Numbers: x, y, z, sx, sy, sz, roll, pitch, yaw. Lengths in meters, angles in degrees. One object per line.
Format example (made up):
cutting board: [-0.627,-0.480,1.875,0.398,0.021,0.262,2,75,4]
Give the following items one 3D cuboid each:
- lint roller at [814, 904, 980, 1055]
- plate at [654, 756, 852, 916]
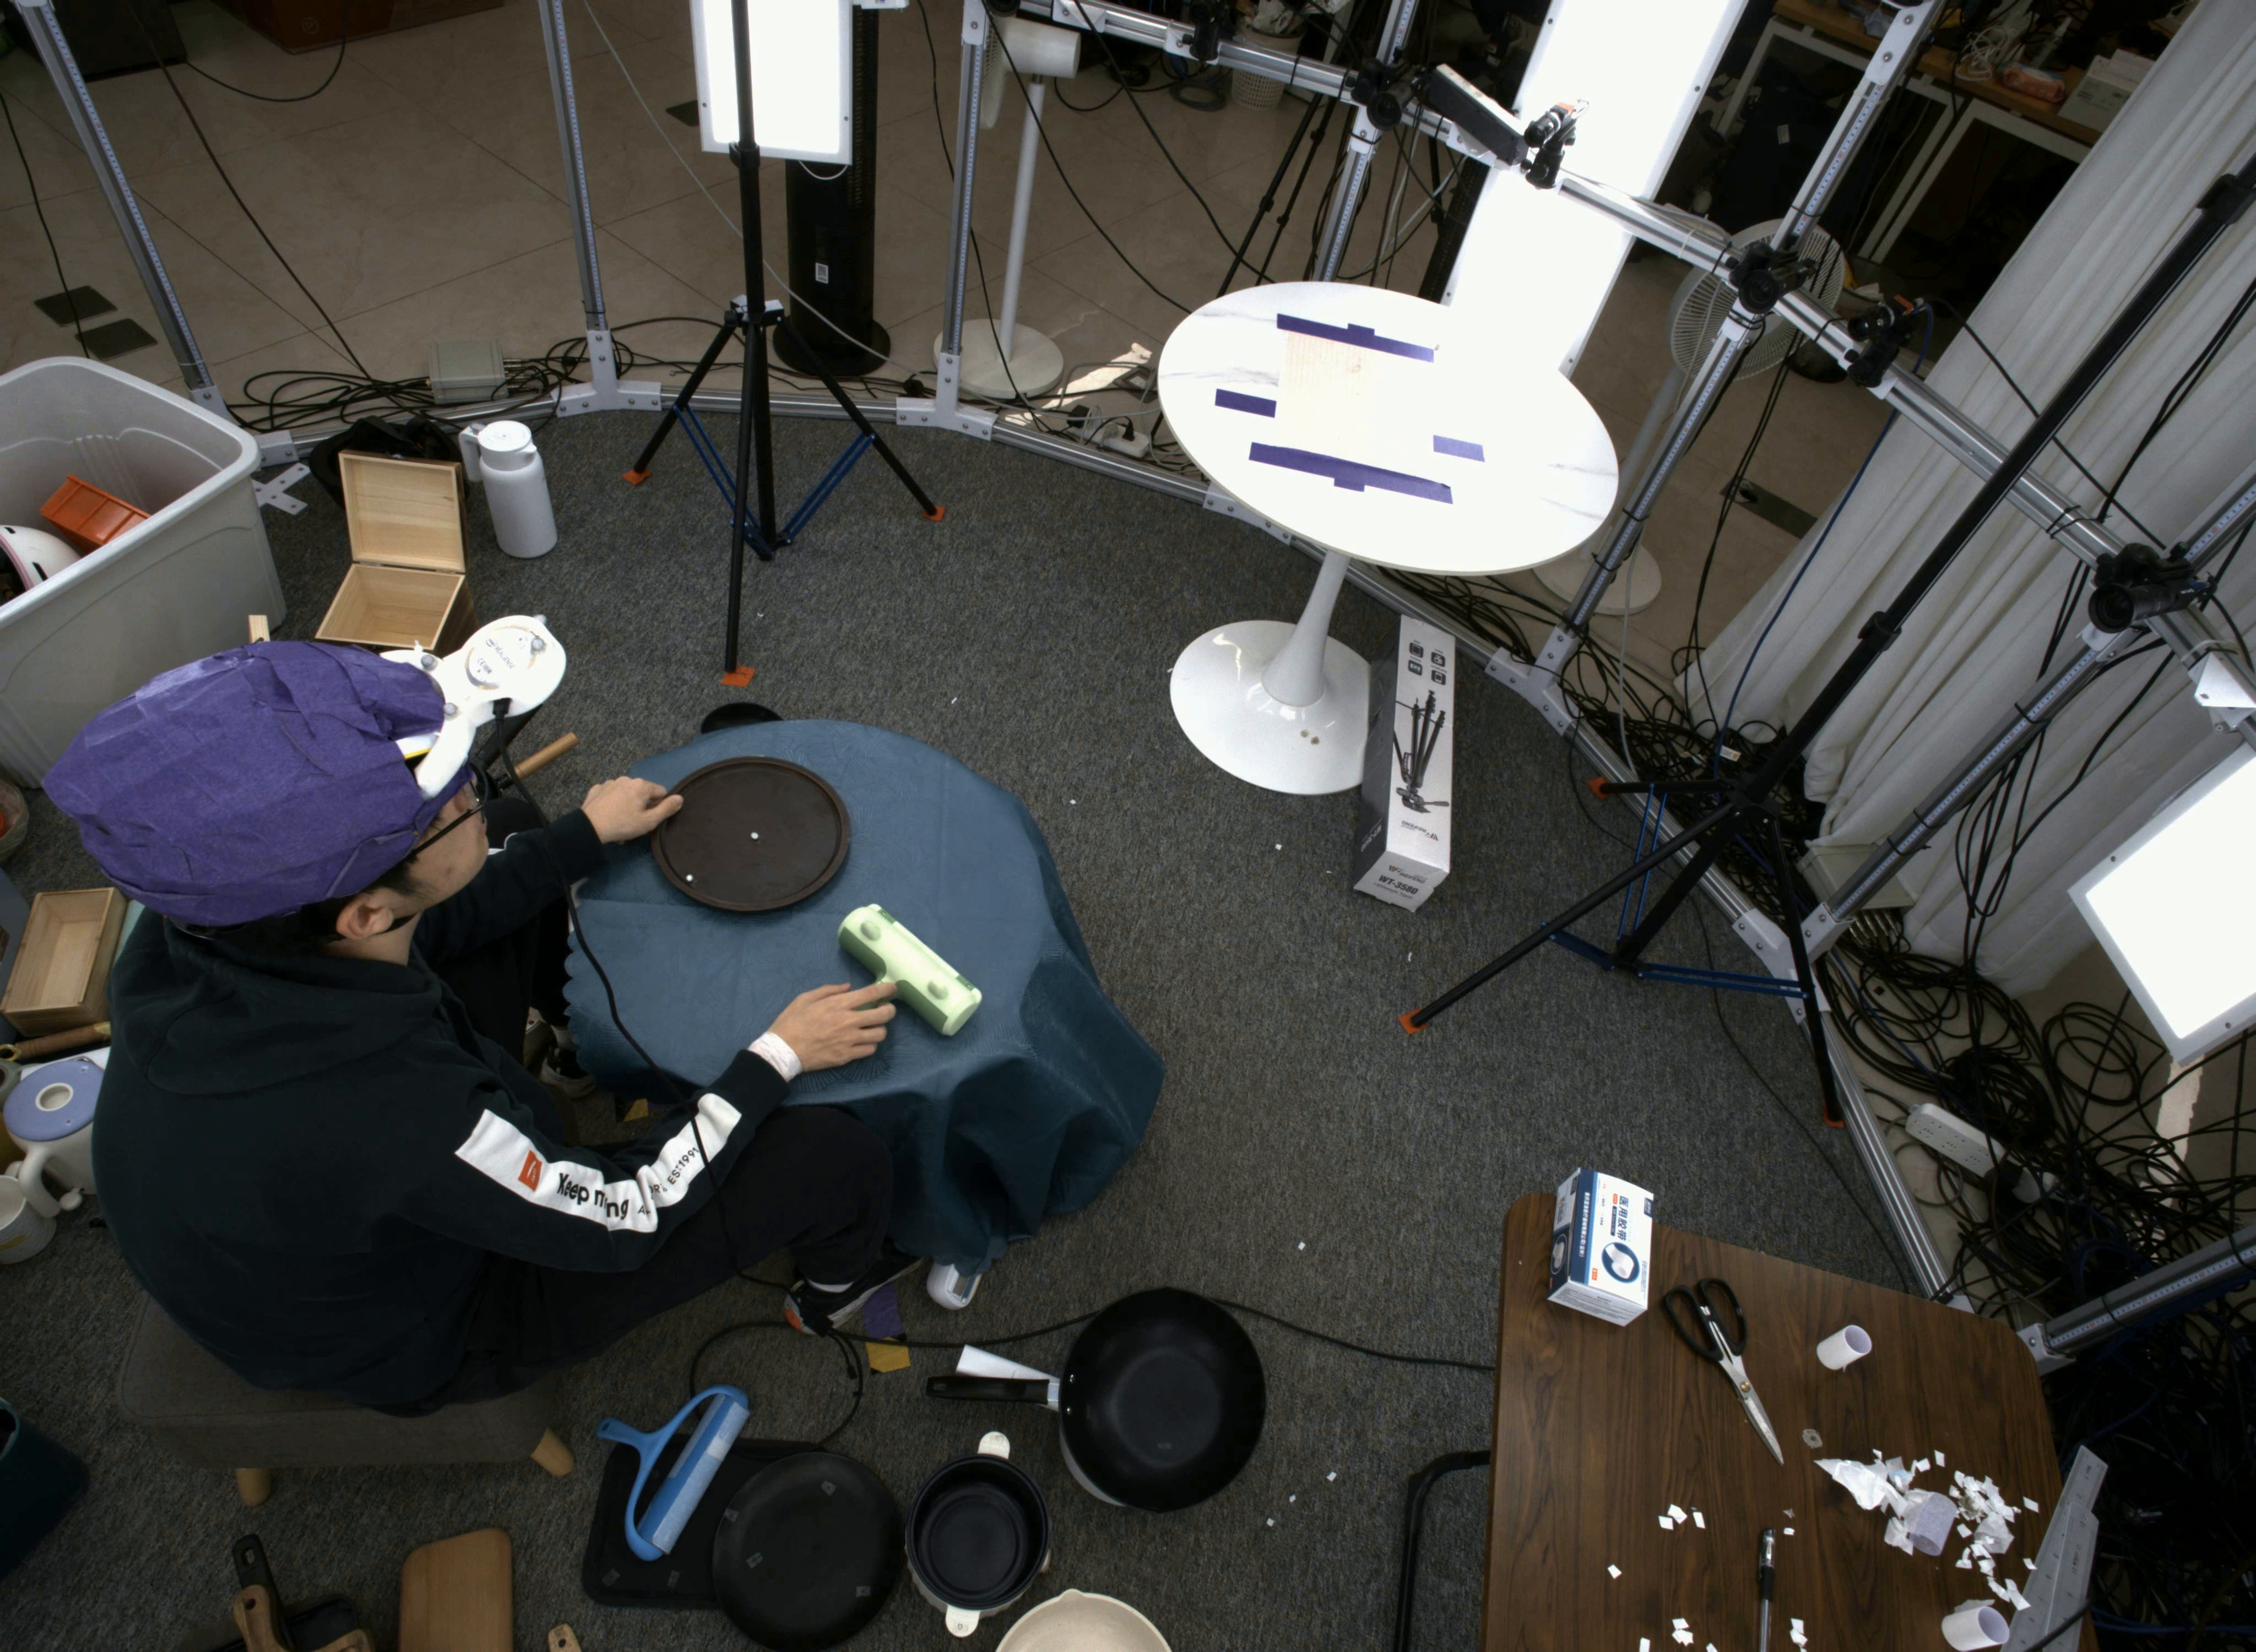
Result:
lint roller: [-0.306,0.198,1.563,0.194,0.084,0.183,38,51,15]
plate: [-0.490,0.010,1.690,0.255,0.029,0.250,9,53,-10]
